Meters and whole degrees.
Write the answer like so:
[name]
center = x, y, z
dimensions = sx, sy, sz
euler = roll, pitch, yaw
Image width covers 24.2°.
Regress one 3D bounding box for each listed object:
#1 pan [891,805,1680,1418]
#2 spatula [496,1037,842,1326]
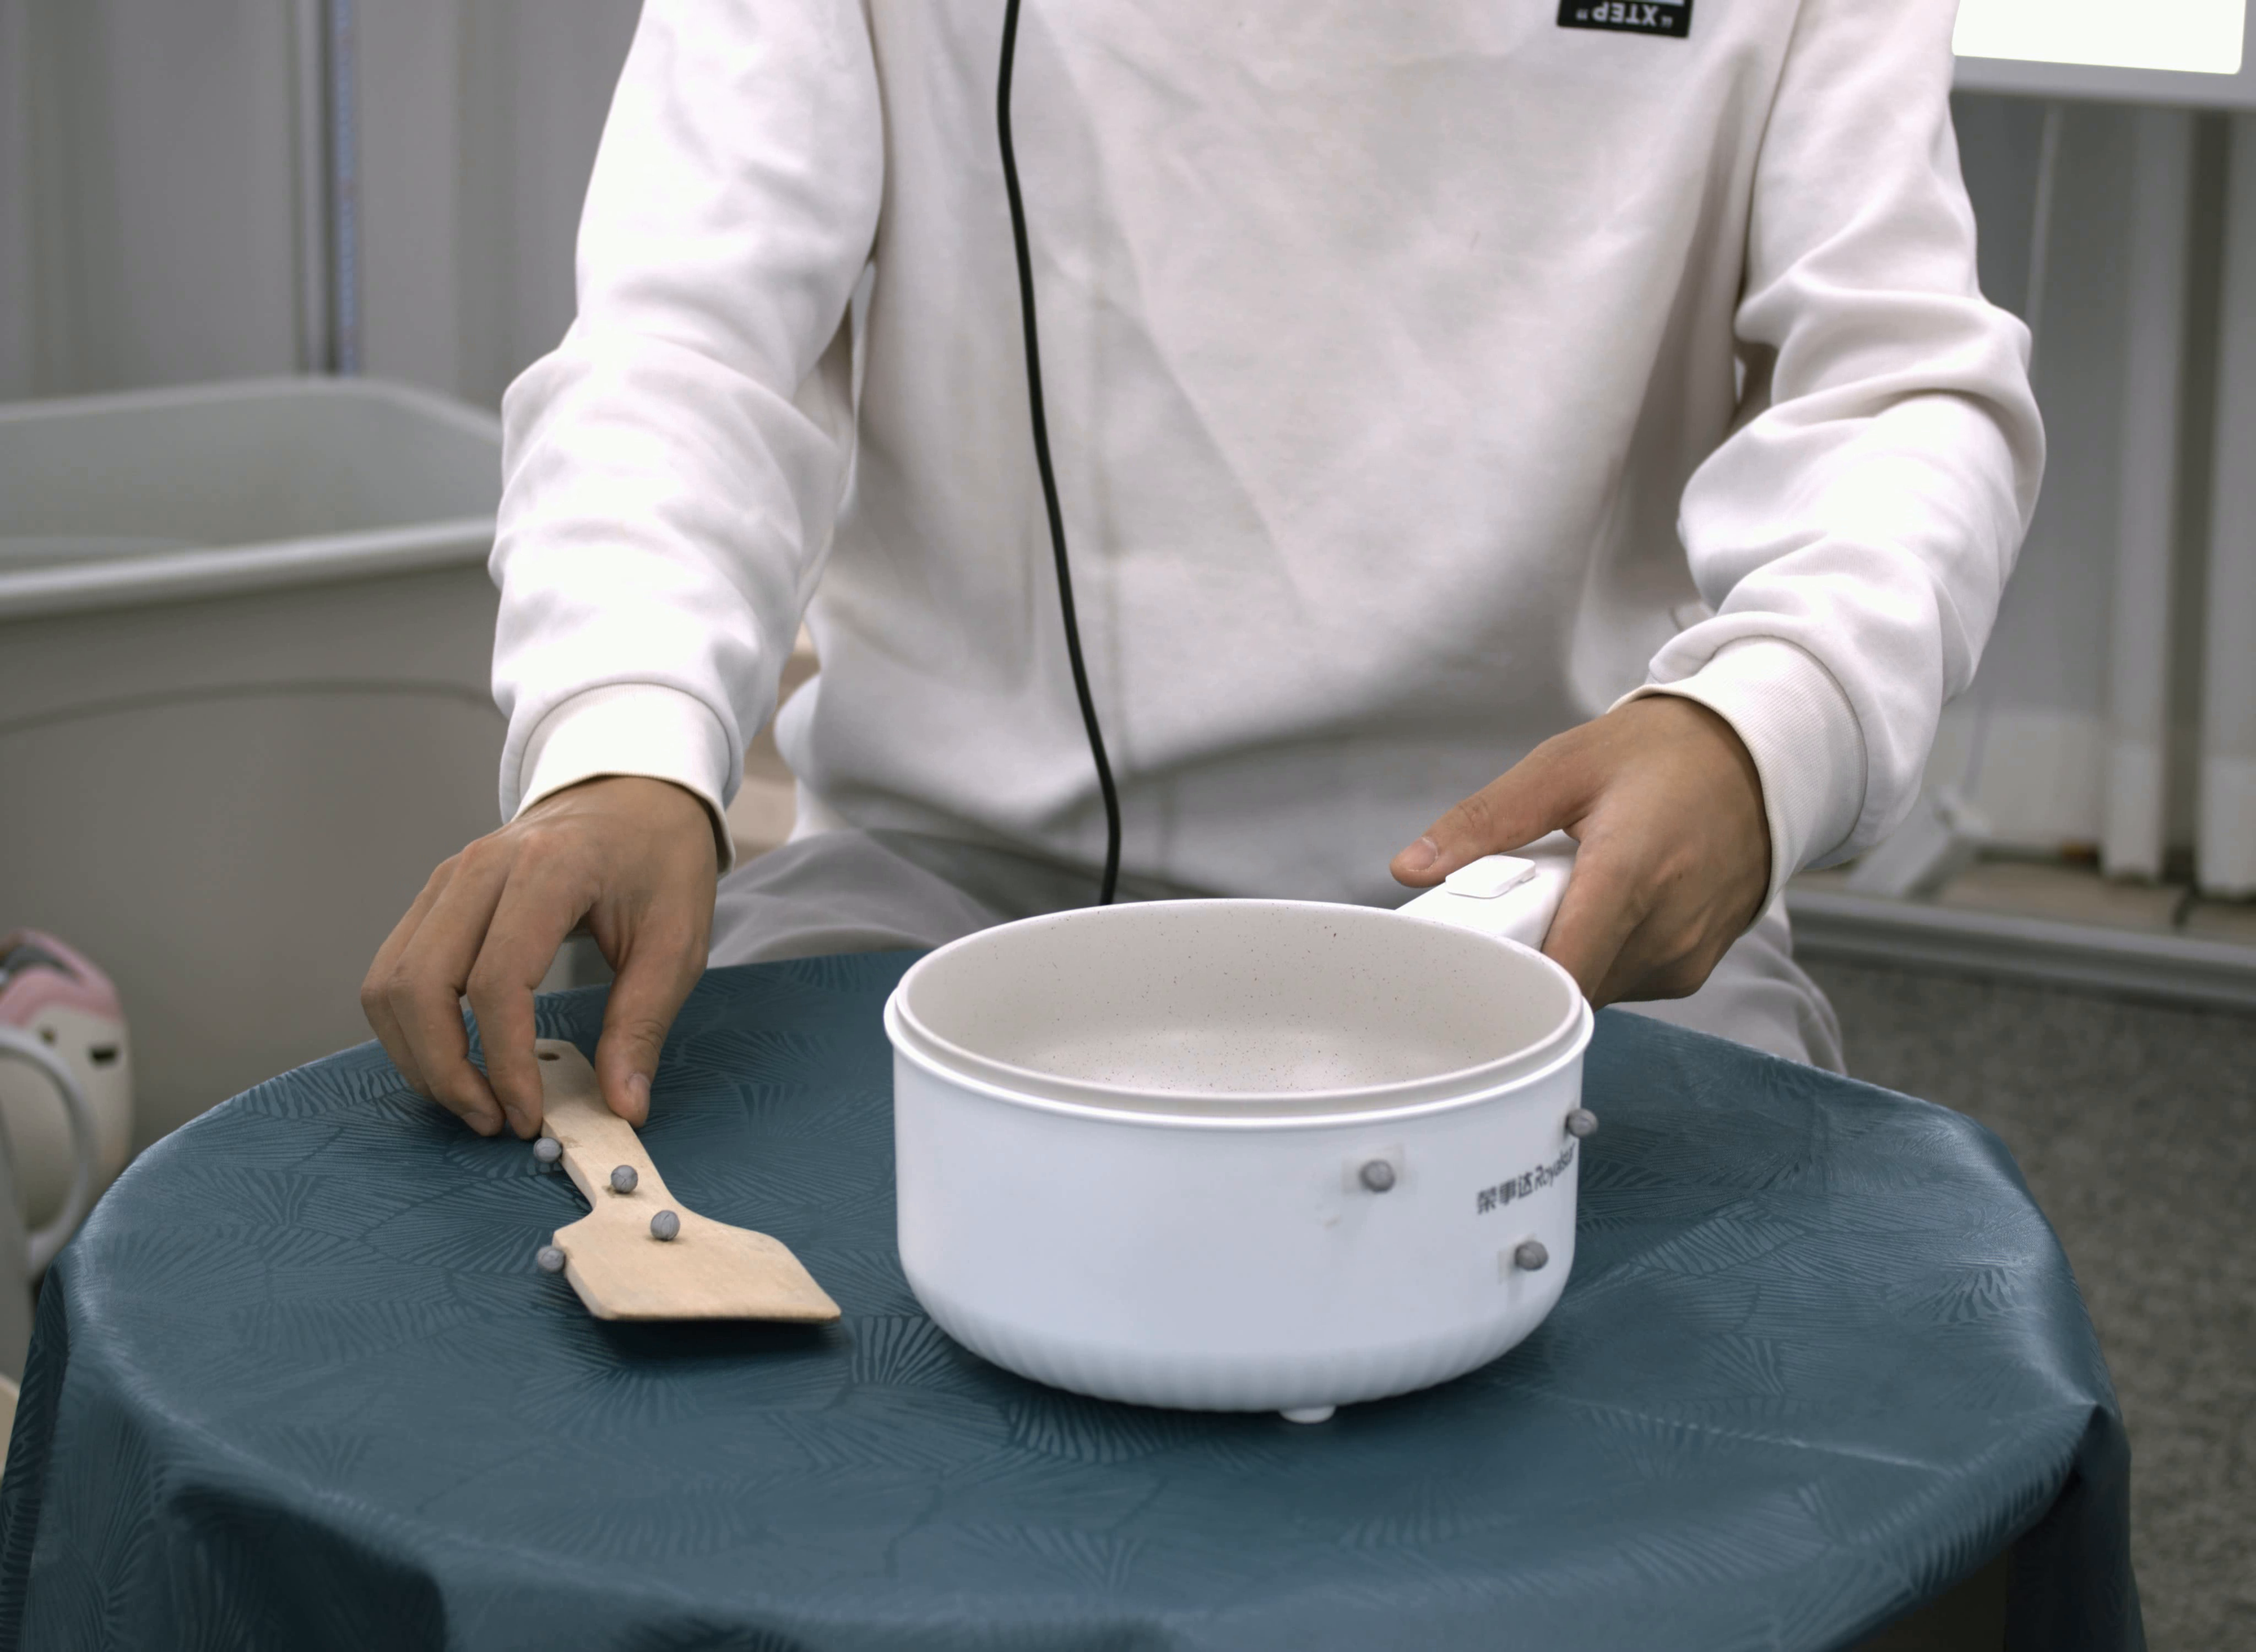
[pan]
center = 0.070, 0.077, 1.568
dimensions = 0.199, 0.103, 0.356
euler = 10, 17, 28
[spatula]
center = -0.157, 0.107, 1.619
dimensions = 0.072, 0.011, 0.290
euler = 1, 14, -18
